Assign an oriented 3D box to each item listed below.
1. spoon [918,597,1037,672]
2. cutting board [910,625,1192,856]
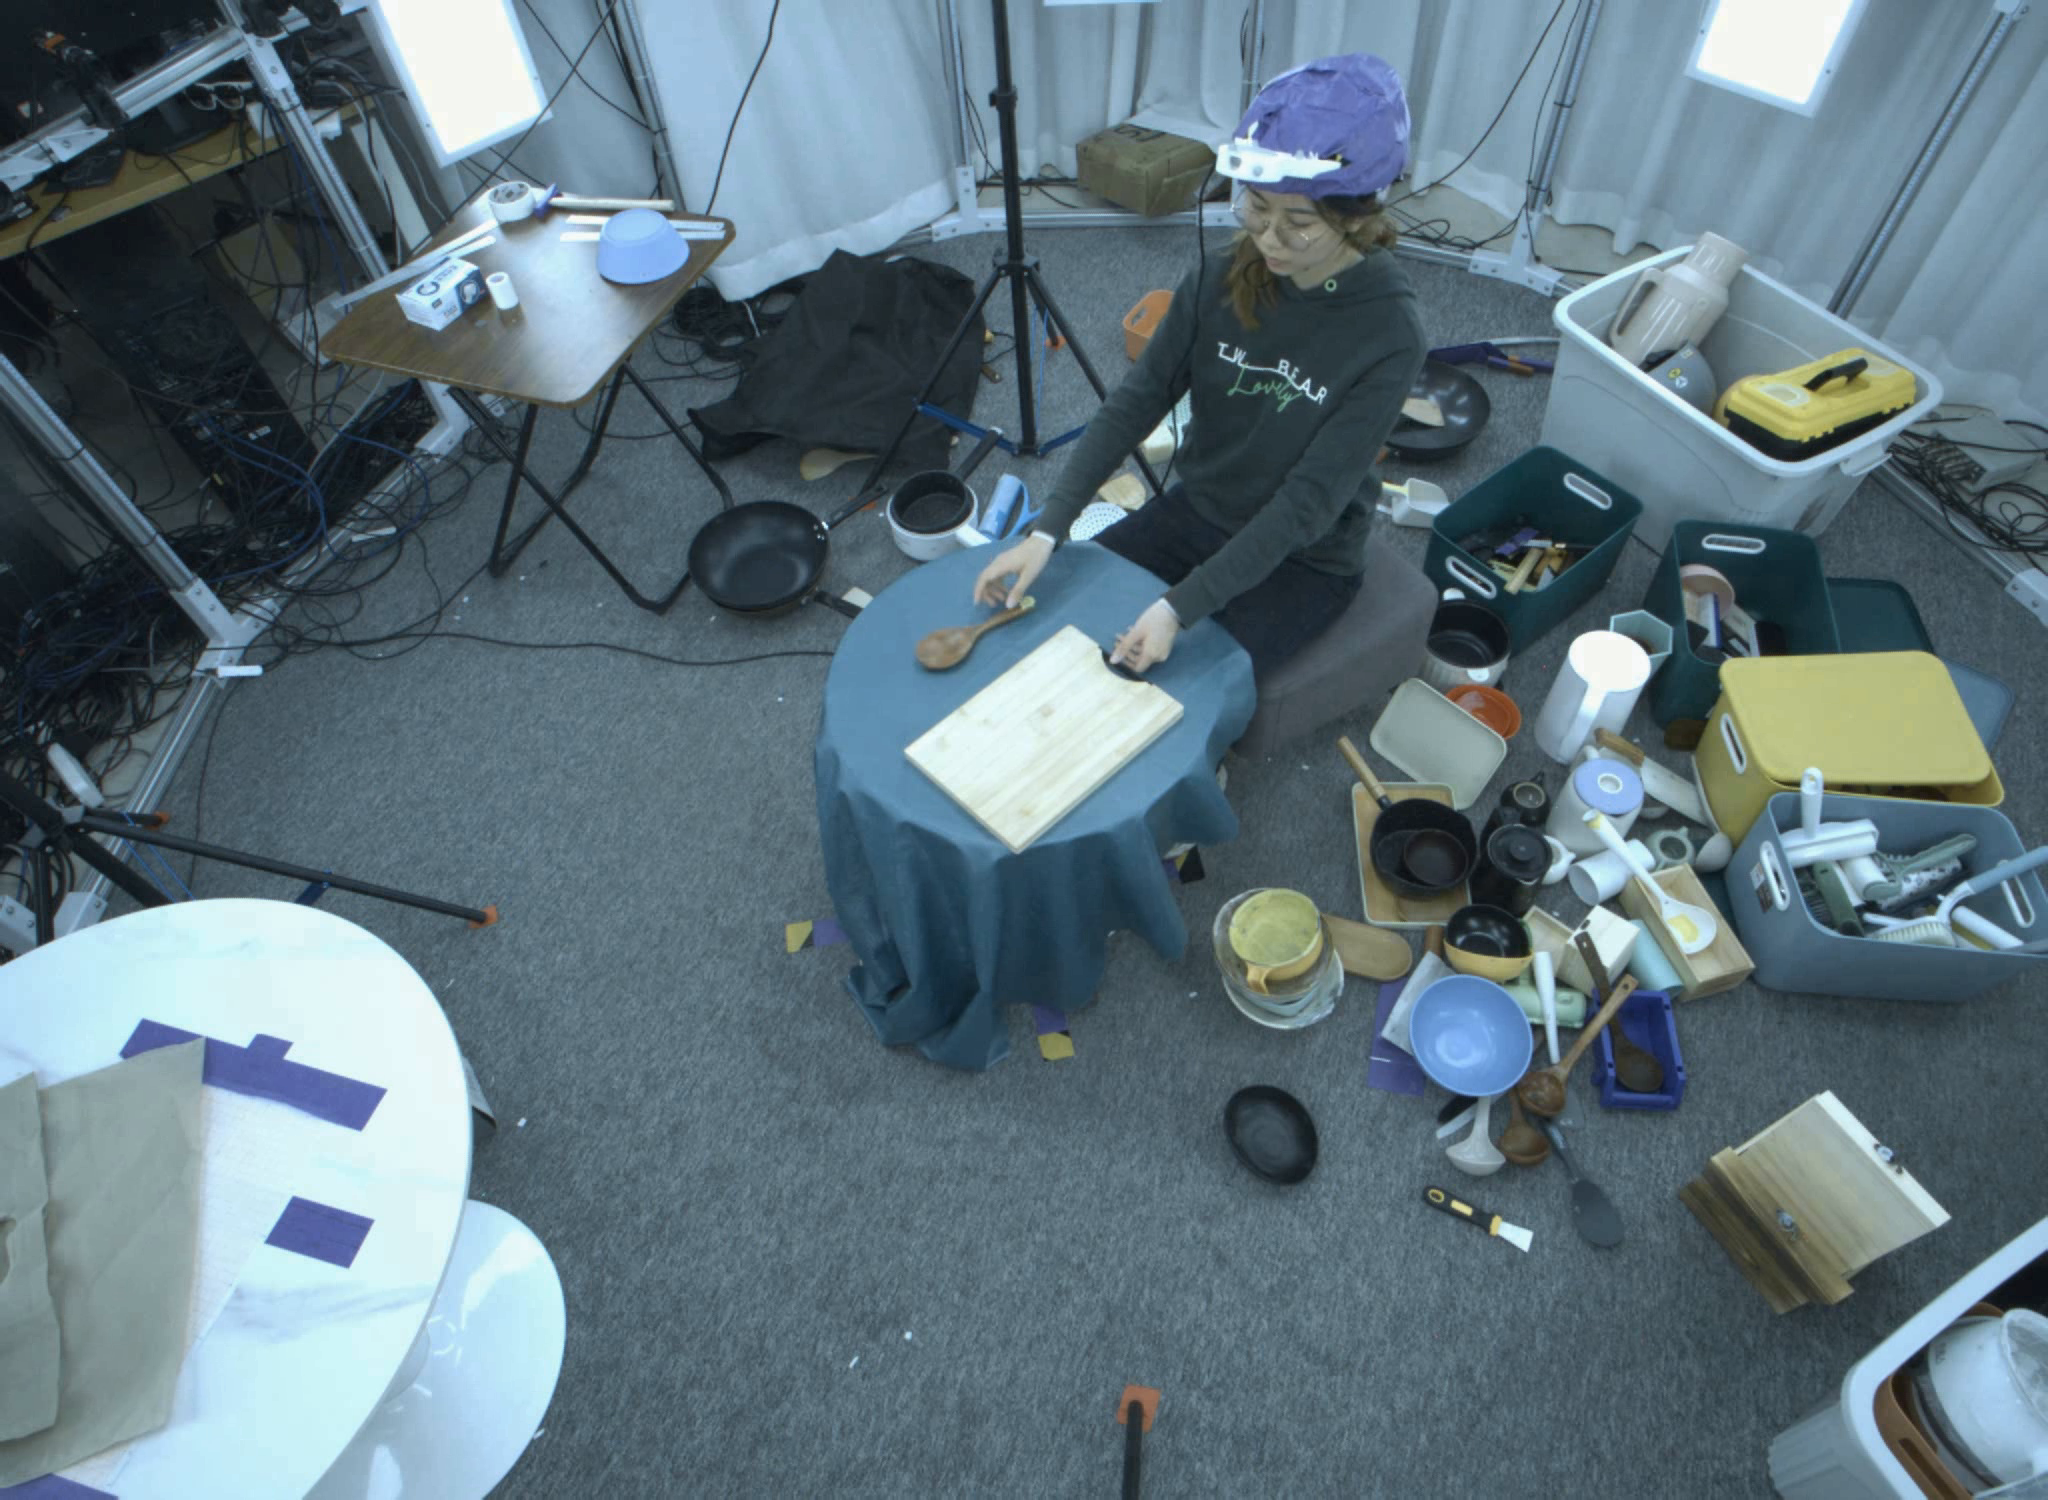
[{"bbox_3d":[-0.070,-0.182,1.917,0.217,0.017,0.074,-32,58,-18],"label":"spoon"},{"bbox_3d":[0.039,-0.025,1.804,0.246,0.024,0.351,39,64,24],"label":"cutting board"}]
